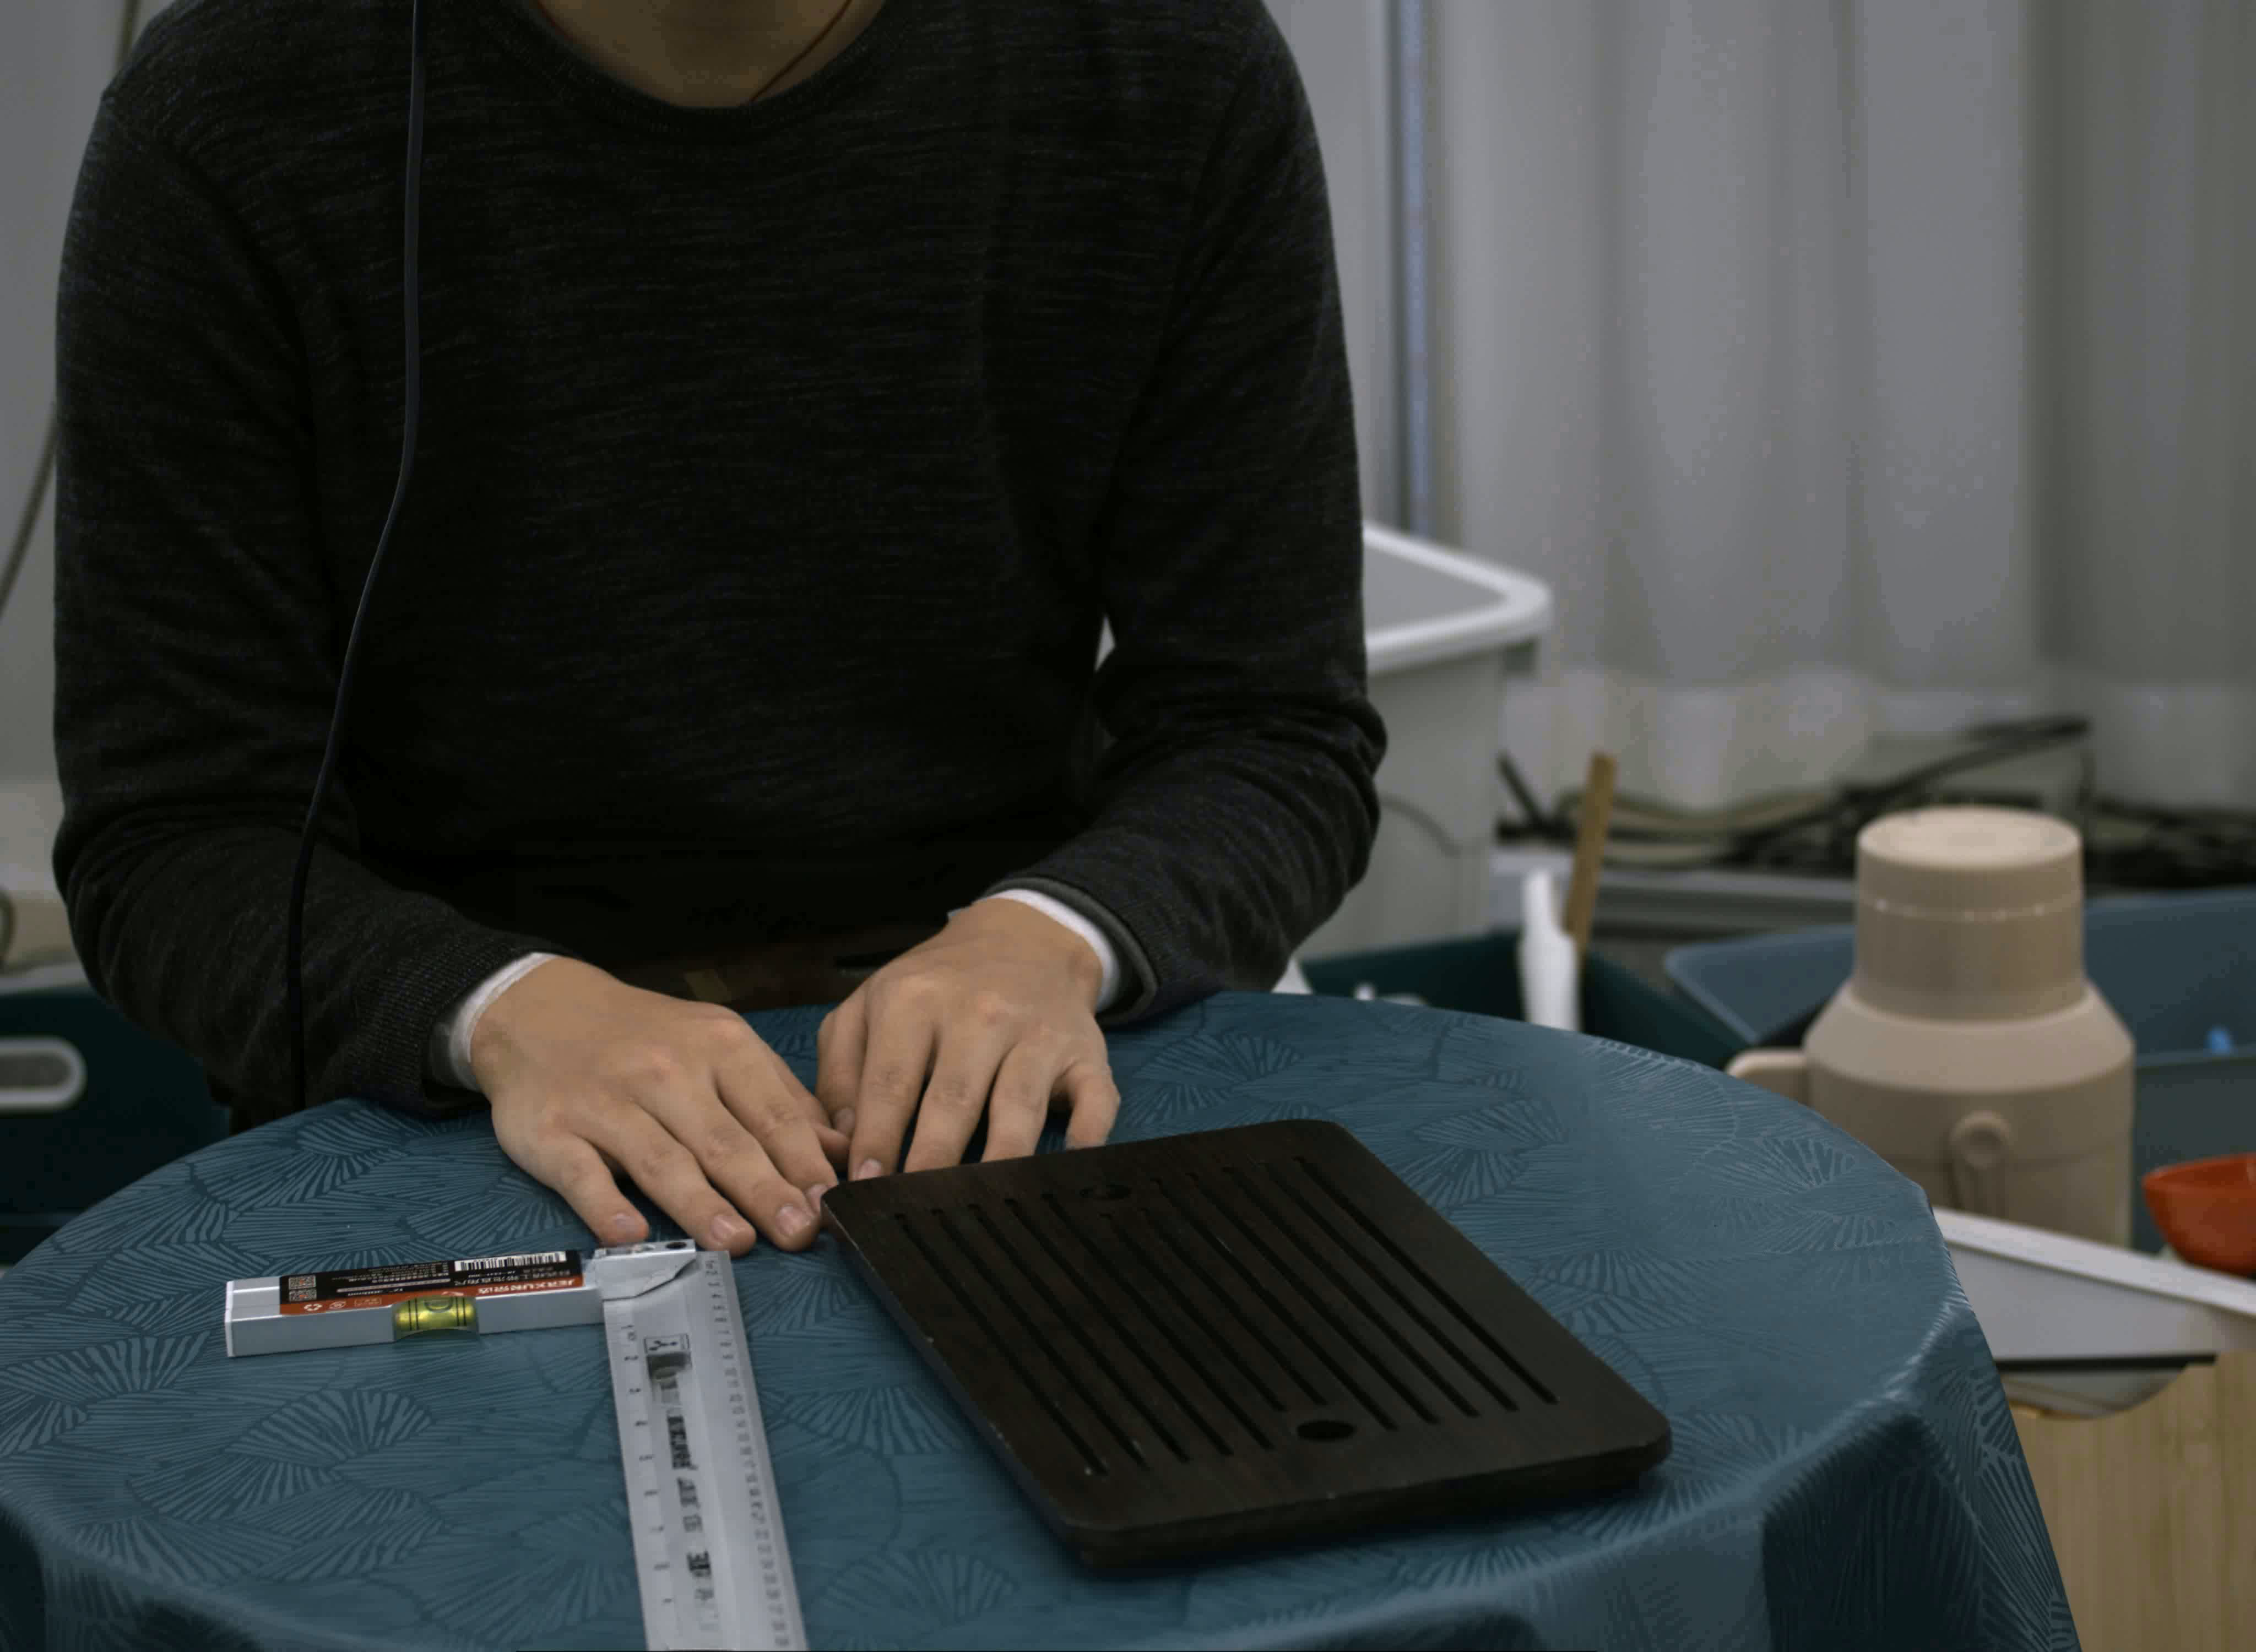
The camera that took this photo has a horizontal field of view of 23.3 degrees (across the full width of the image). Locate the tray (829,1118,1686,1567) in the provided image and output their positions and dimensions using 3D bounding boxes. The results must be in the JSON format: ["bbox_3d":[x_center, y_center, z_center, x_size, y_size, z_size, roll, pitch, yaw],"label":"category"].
[{"bbox_3d":[0.028,0.144,1.564,0.169,0.018,0.308,-7,15,-15],"label":"tray"}]

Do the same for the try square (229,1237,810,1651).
[{"bbox_3d":[-0.173,0.177,1.501,0.151,0.016,0.315,-6,16,-6],"label":"try square"}]
